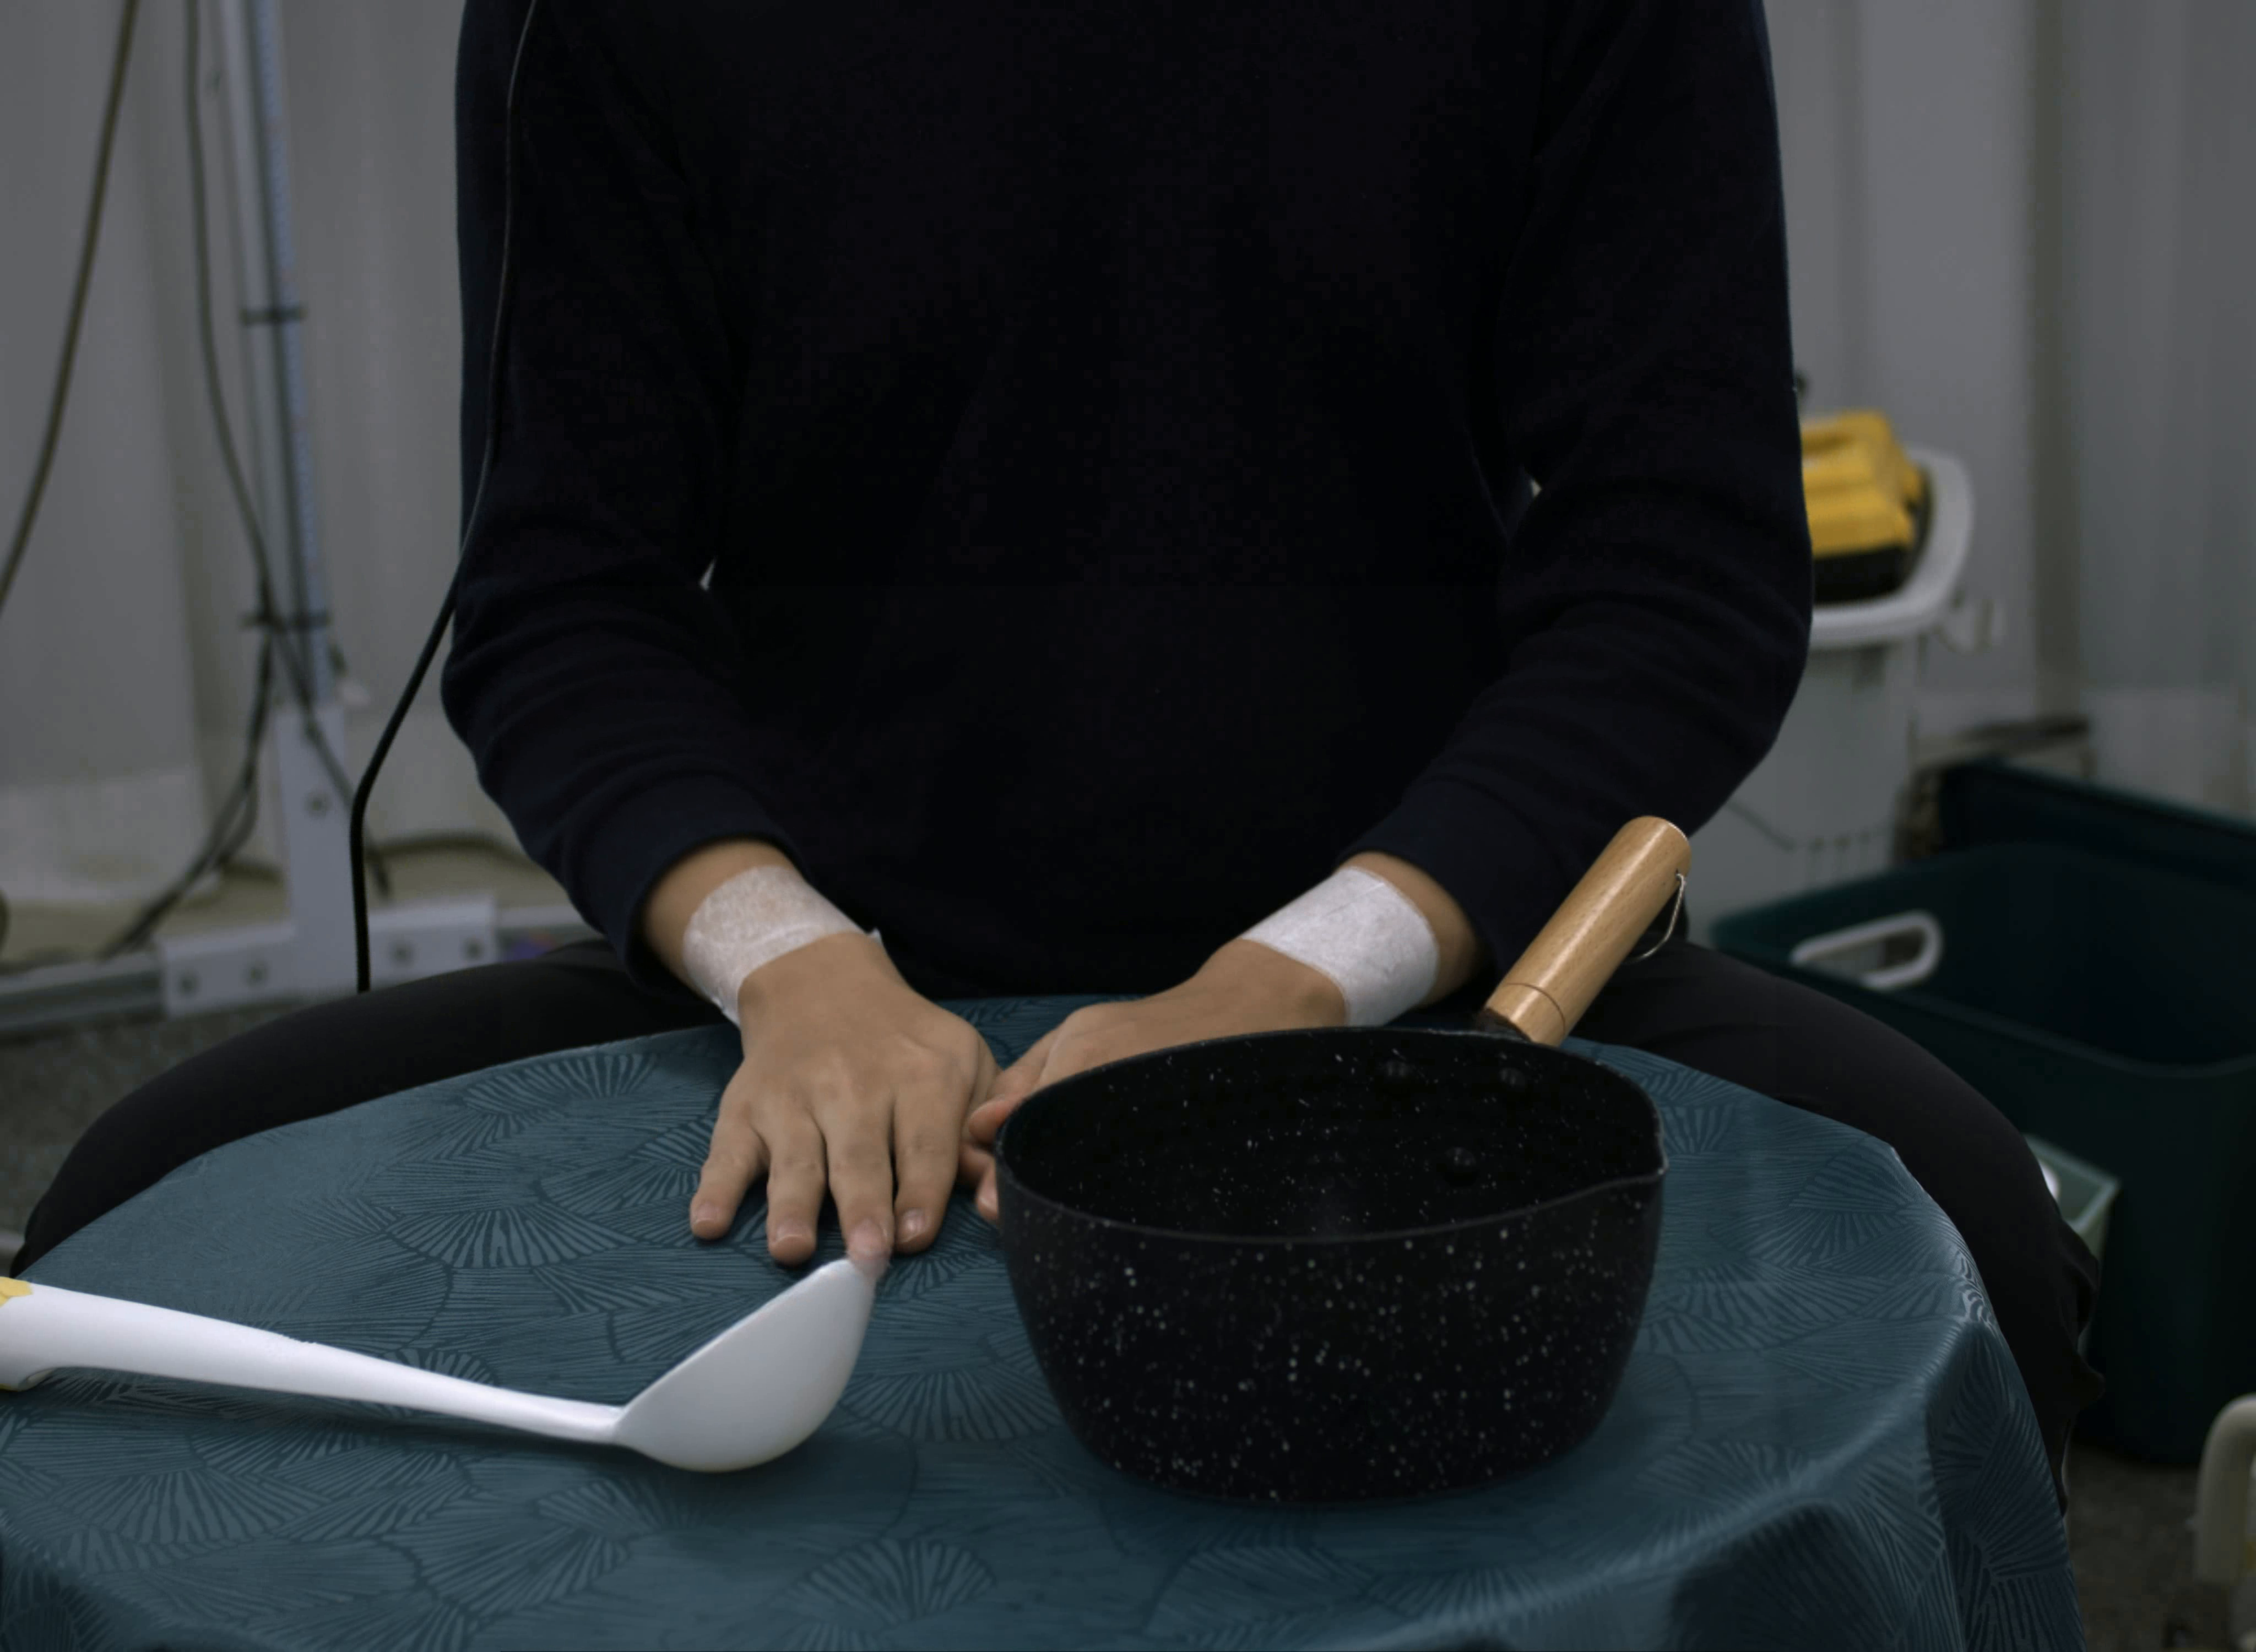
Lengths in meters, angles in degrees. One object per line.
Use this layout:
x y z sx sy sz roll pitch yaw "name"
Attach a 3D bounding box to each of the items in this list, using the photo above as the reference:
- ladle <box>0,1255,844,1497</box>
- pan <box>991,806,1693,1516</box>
-0.220 0.145 1.527 0.293 0.070 0.090 3 1 20 "ladle"
0.090 0.091 1.578 0.208 0.108 0.344 3 18 26 "pan"
